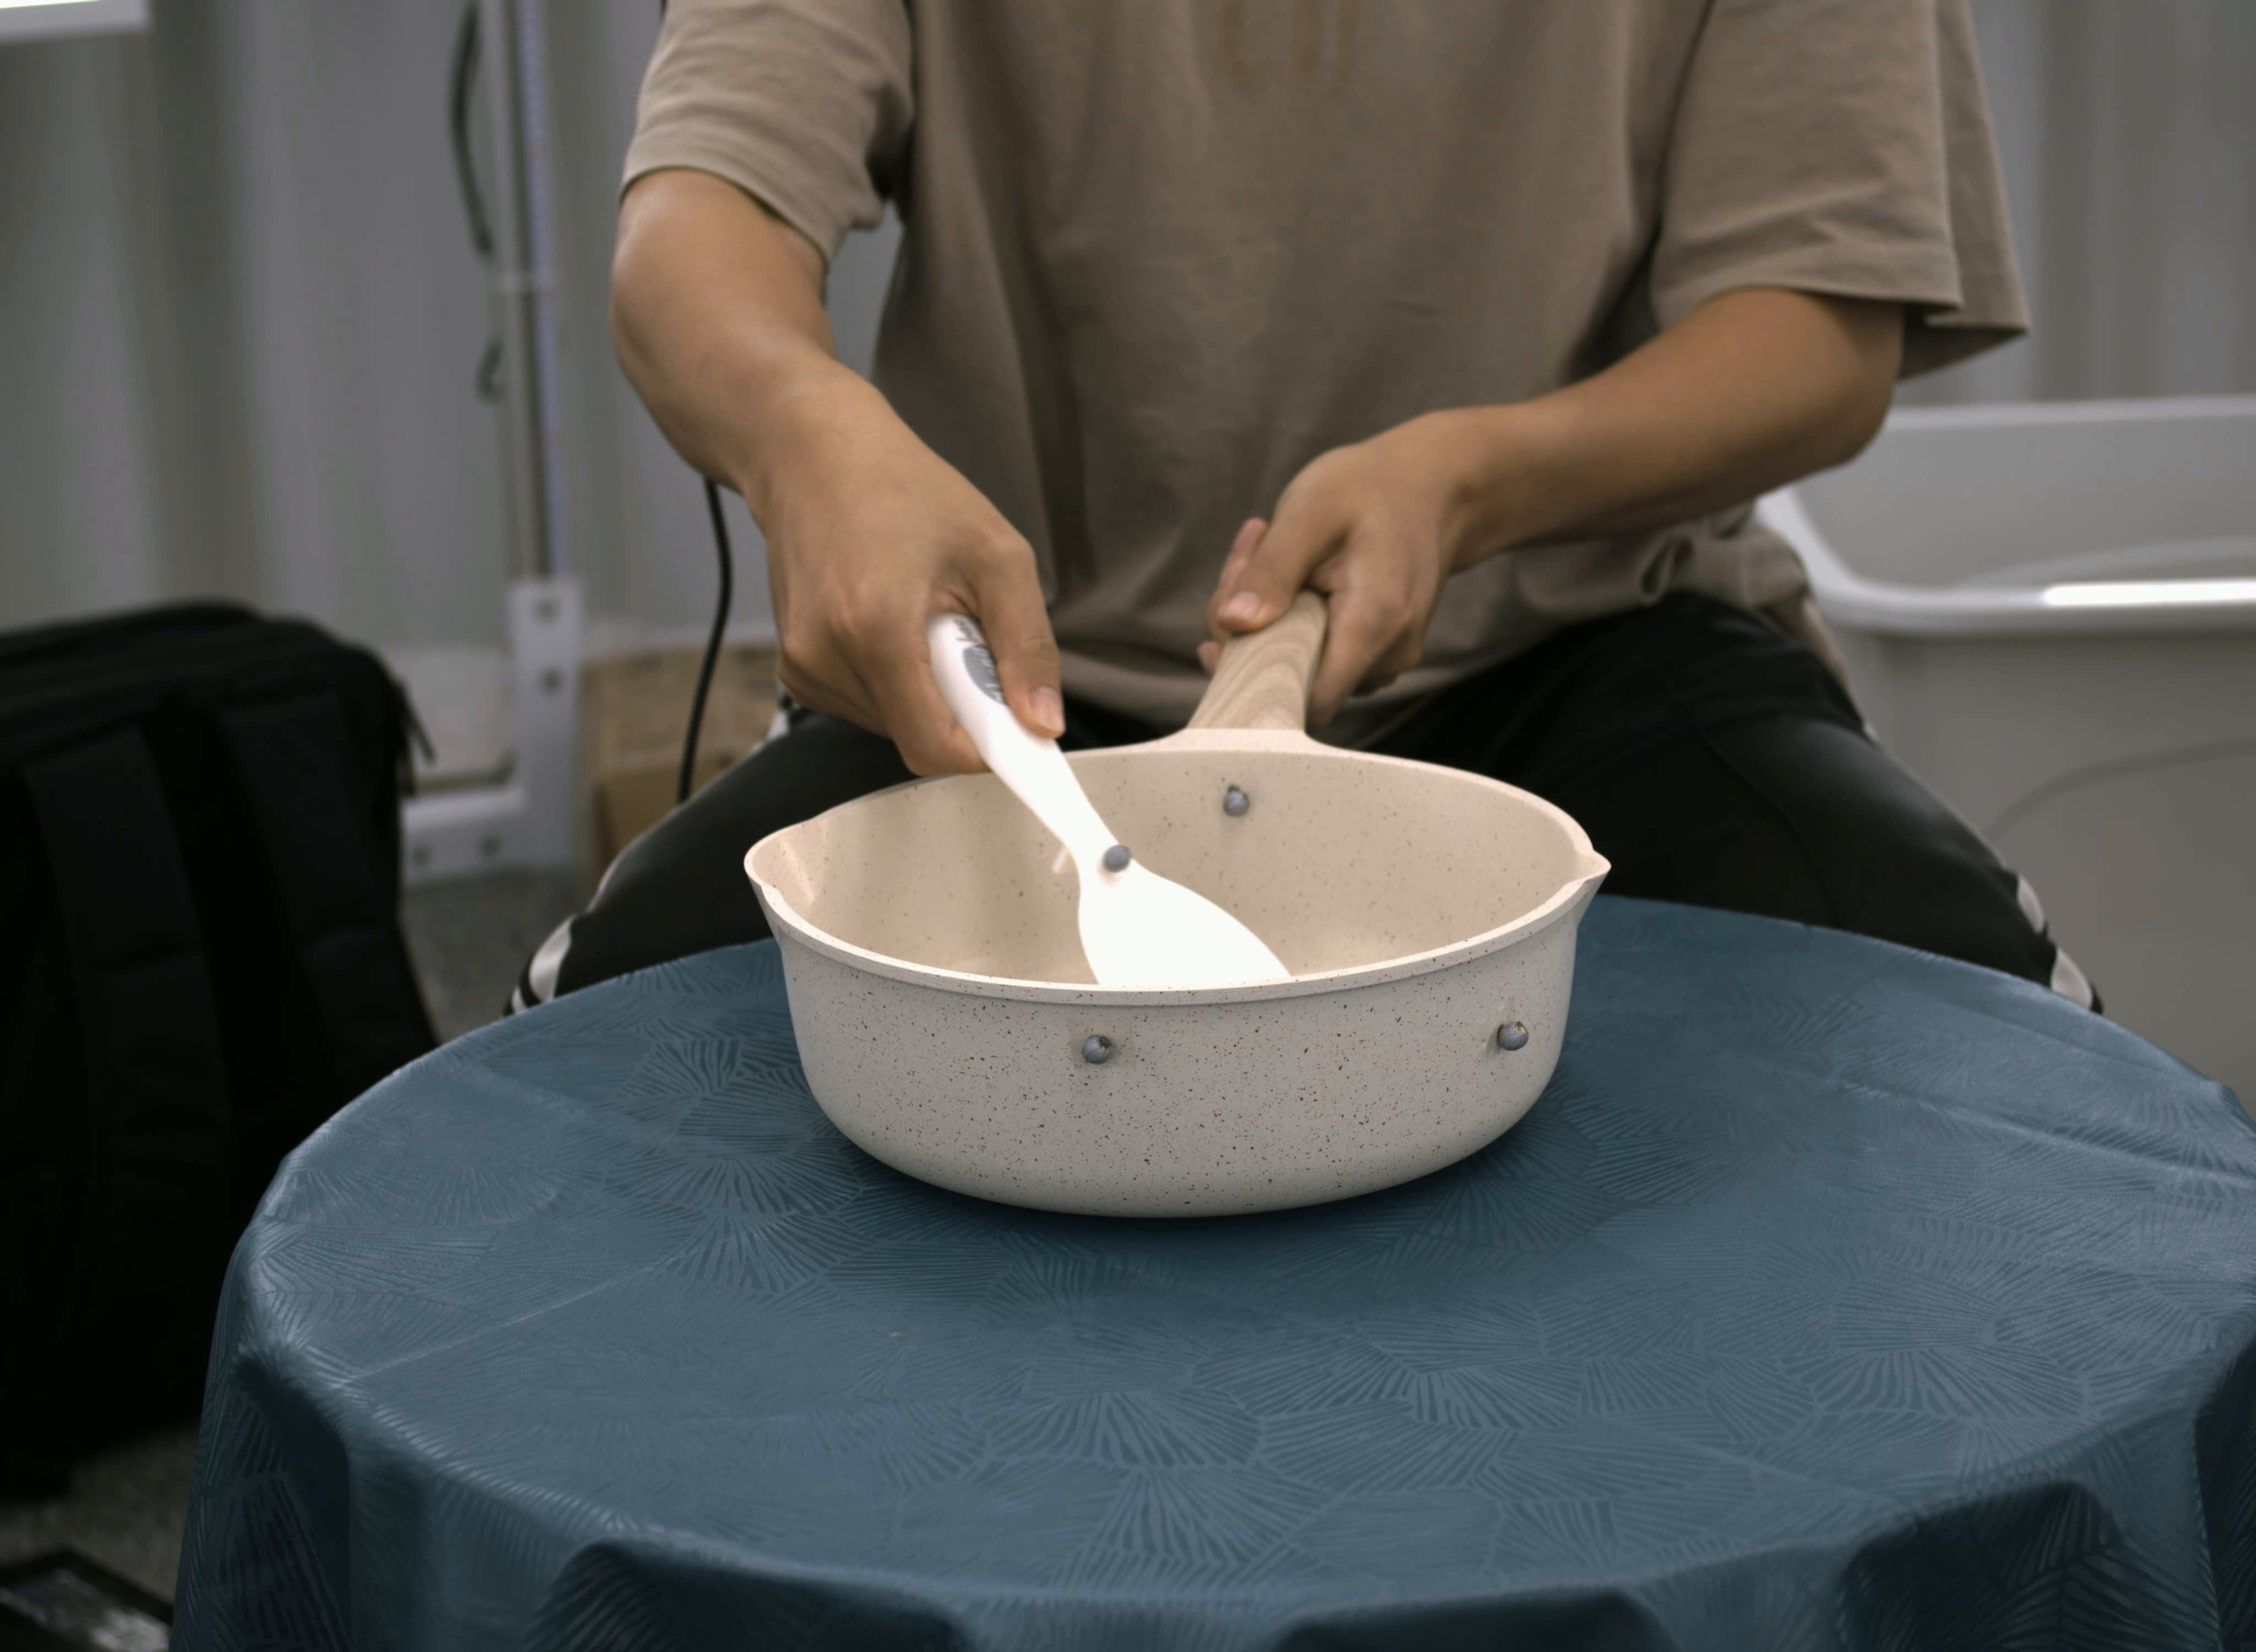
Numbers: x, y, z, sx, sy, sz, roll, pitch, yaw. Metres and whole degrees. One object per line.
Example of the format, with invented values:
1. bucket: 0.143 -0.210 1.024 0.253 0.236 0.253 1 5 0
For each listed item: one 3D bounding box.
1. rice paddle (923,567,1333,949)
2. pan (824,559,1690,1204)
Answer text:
1. rice paddle: 0.006 0.003 1.647 0.067 0.029 0.208 -17 59 -40
2. pan: 0.053 0.013 1.692 0.264 0.102 0.433 -1 16 10
